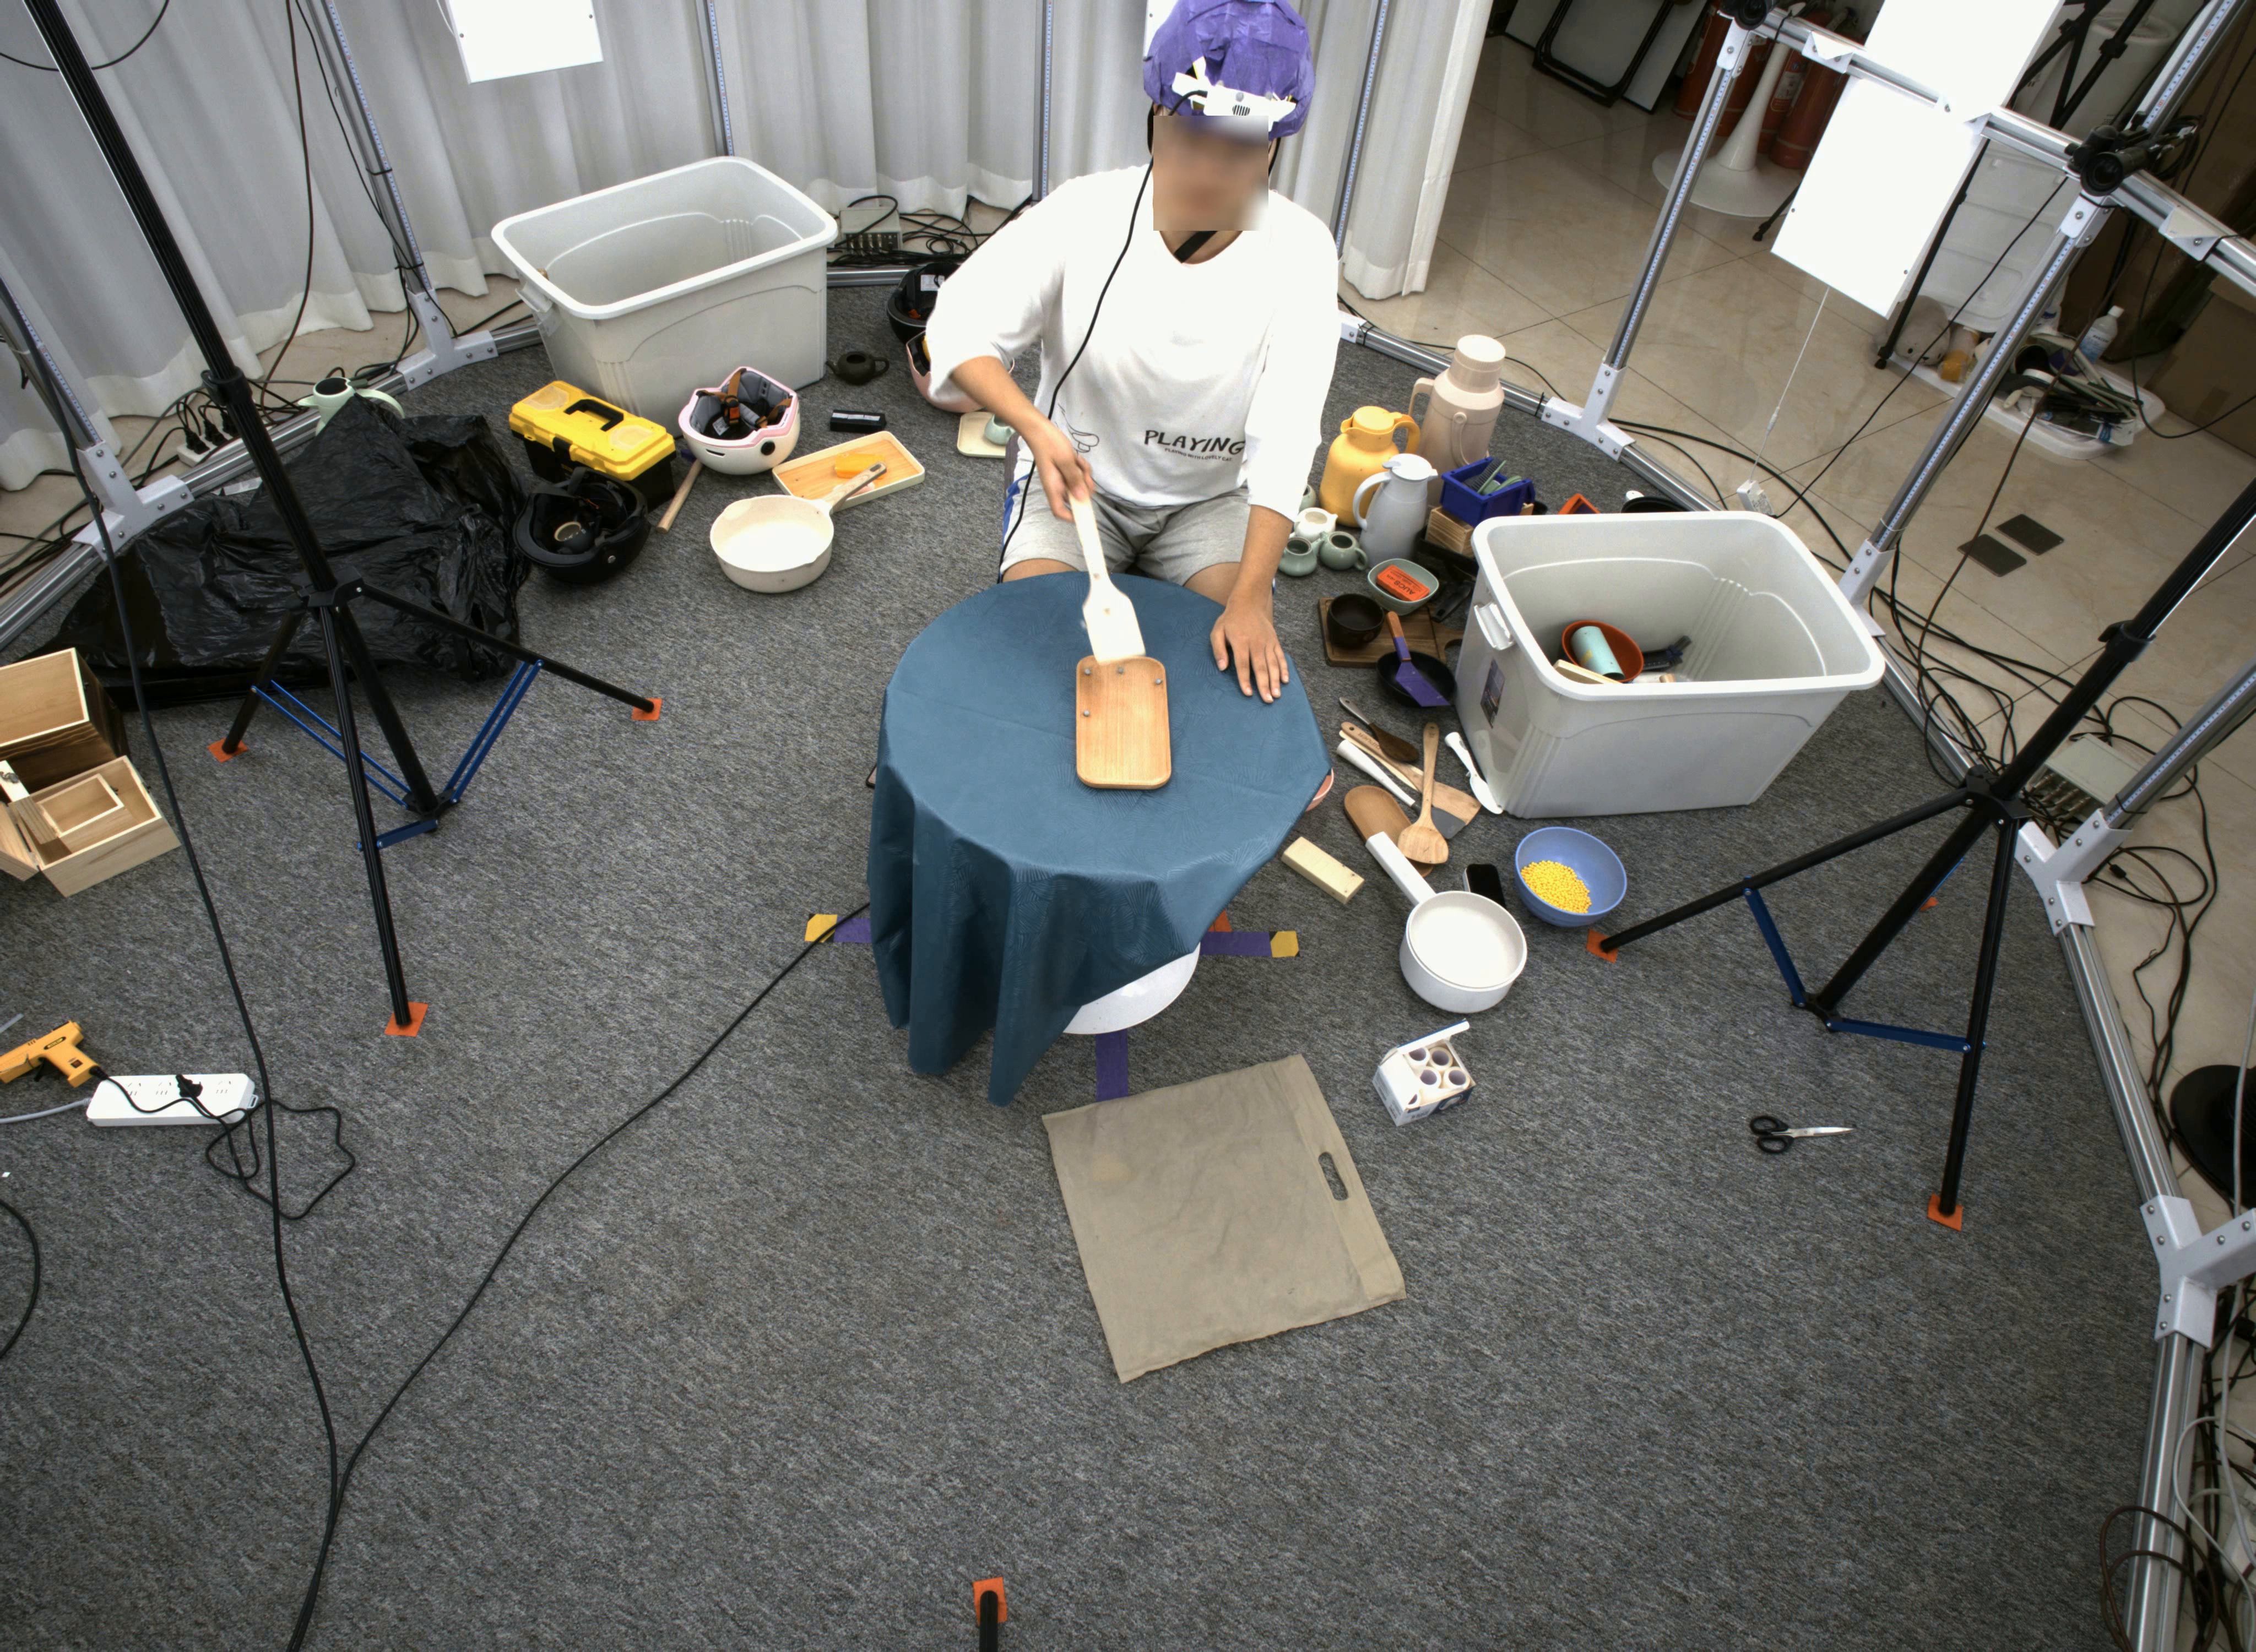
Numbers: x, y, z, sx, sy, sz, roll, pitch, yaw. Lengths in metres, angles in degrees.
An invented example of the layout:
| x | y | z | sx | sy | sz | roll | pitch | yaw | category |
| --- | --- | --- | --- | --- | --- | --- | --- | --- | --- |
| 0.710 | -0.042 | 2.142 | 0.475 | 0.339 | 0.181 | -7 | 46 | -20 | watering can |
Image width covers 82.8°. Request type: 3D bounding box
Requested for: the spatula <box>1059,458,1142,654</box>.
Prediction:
| x | y | z | sx | sy | sz | roll | pitch | yaw | category |
| --- | --- | --- | --- | --- | --- | --- | --- | --- | --- |
| -0.050 | -0.382 | 1.804 | 0.072 | 0.010 | 0.296 | -13 | 78 | -7 | spatula |

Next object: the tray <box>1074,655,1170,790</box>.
| x | y | z | sx | sy | sz | roll | pitch | yaw | category |
| --- | --- | --- | --- | --- | --- | --- | --- | --- | --- |
| -0.009 | -0.146 | 1.780 | 0.130 | 0.022 | 0.257 | 1 | 49 | -1 | tray |
